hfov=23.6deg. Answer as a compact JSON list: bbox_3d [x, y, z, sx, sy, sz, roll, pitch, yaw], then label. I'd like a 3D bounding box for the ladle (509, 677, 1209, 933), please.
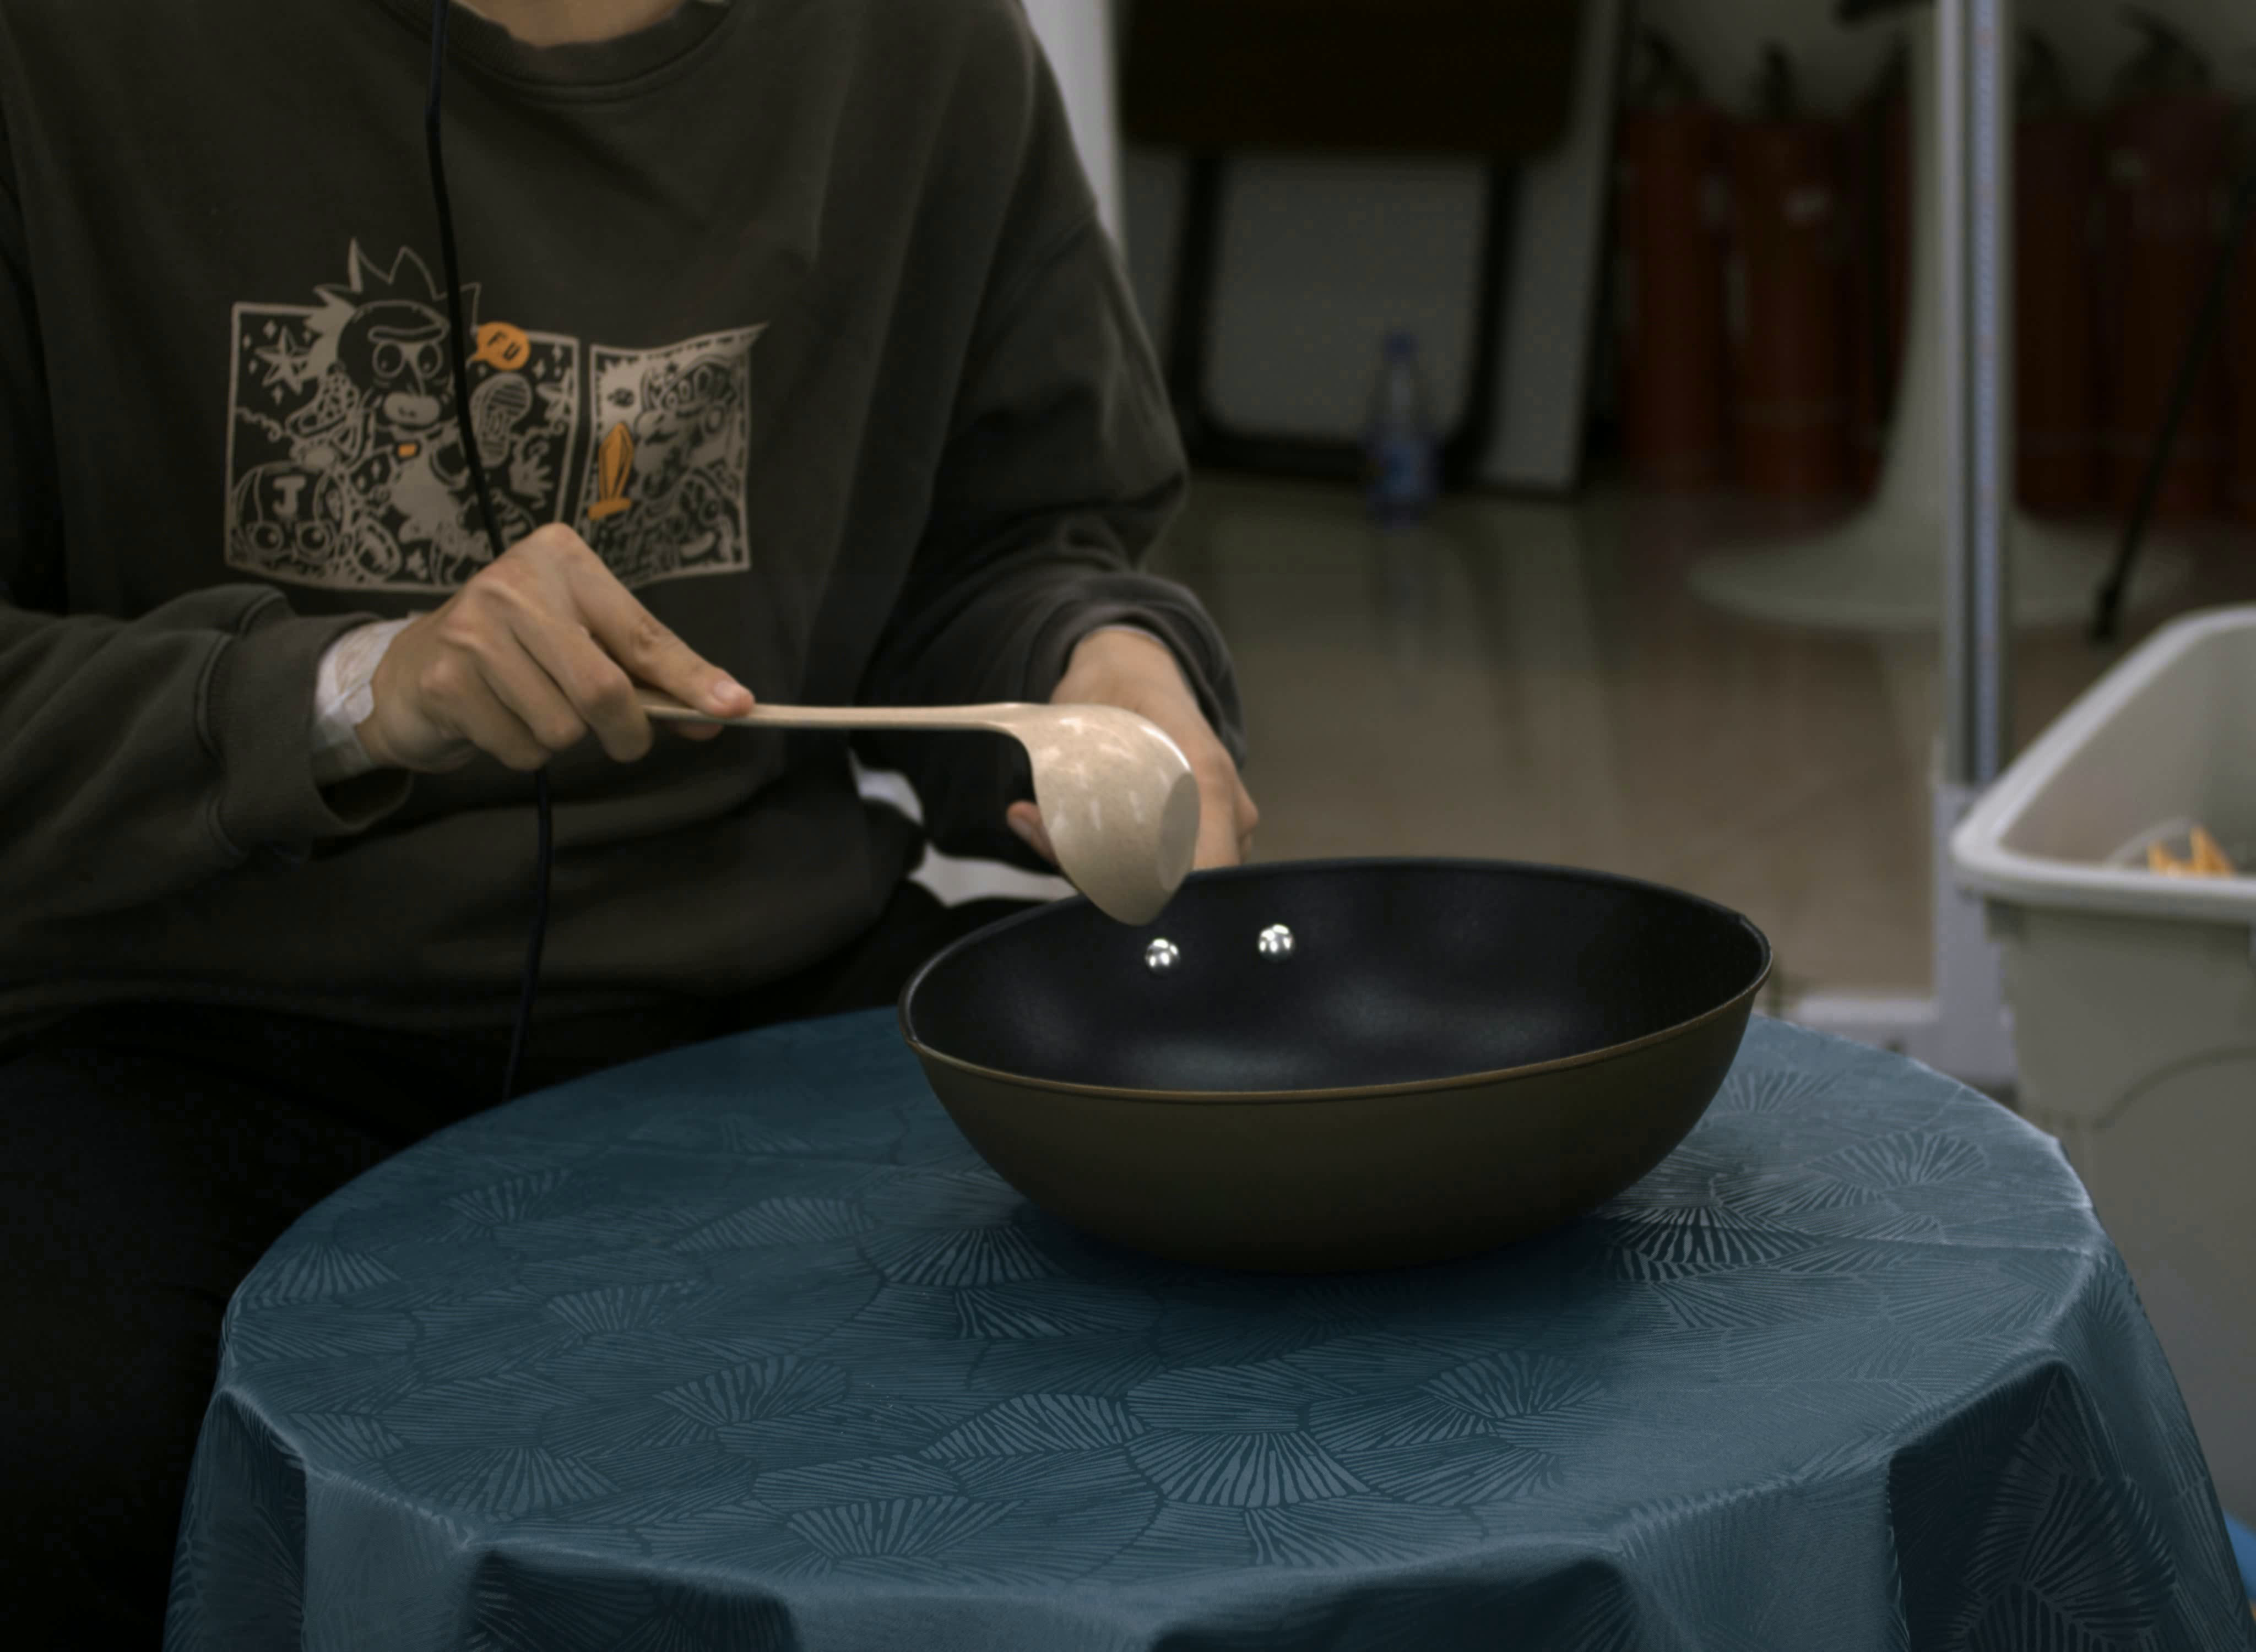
[{"bbox_3d":[-0.094,-0.008,1.812,0.255,0.073,0.071,4,23,26],"label":"ladle"}]

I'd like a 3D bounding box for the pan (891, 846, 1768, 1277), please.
[{"bbox_3d":[0.041,0.067,1.817,0.282,0.088,0.467,-8,12,-15],"label":"pan"}]
